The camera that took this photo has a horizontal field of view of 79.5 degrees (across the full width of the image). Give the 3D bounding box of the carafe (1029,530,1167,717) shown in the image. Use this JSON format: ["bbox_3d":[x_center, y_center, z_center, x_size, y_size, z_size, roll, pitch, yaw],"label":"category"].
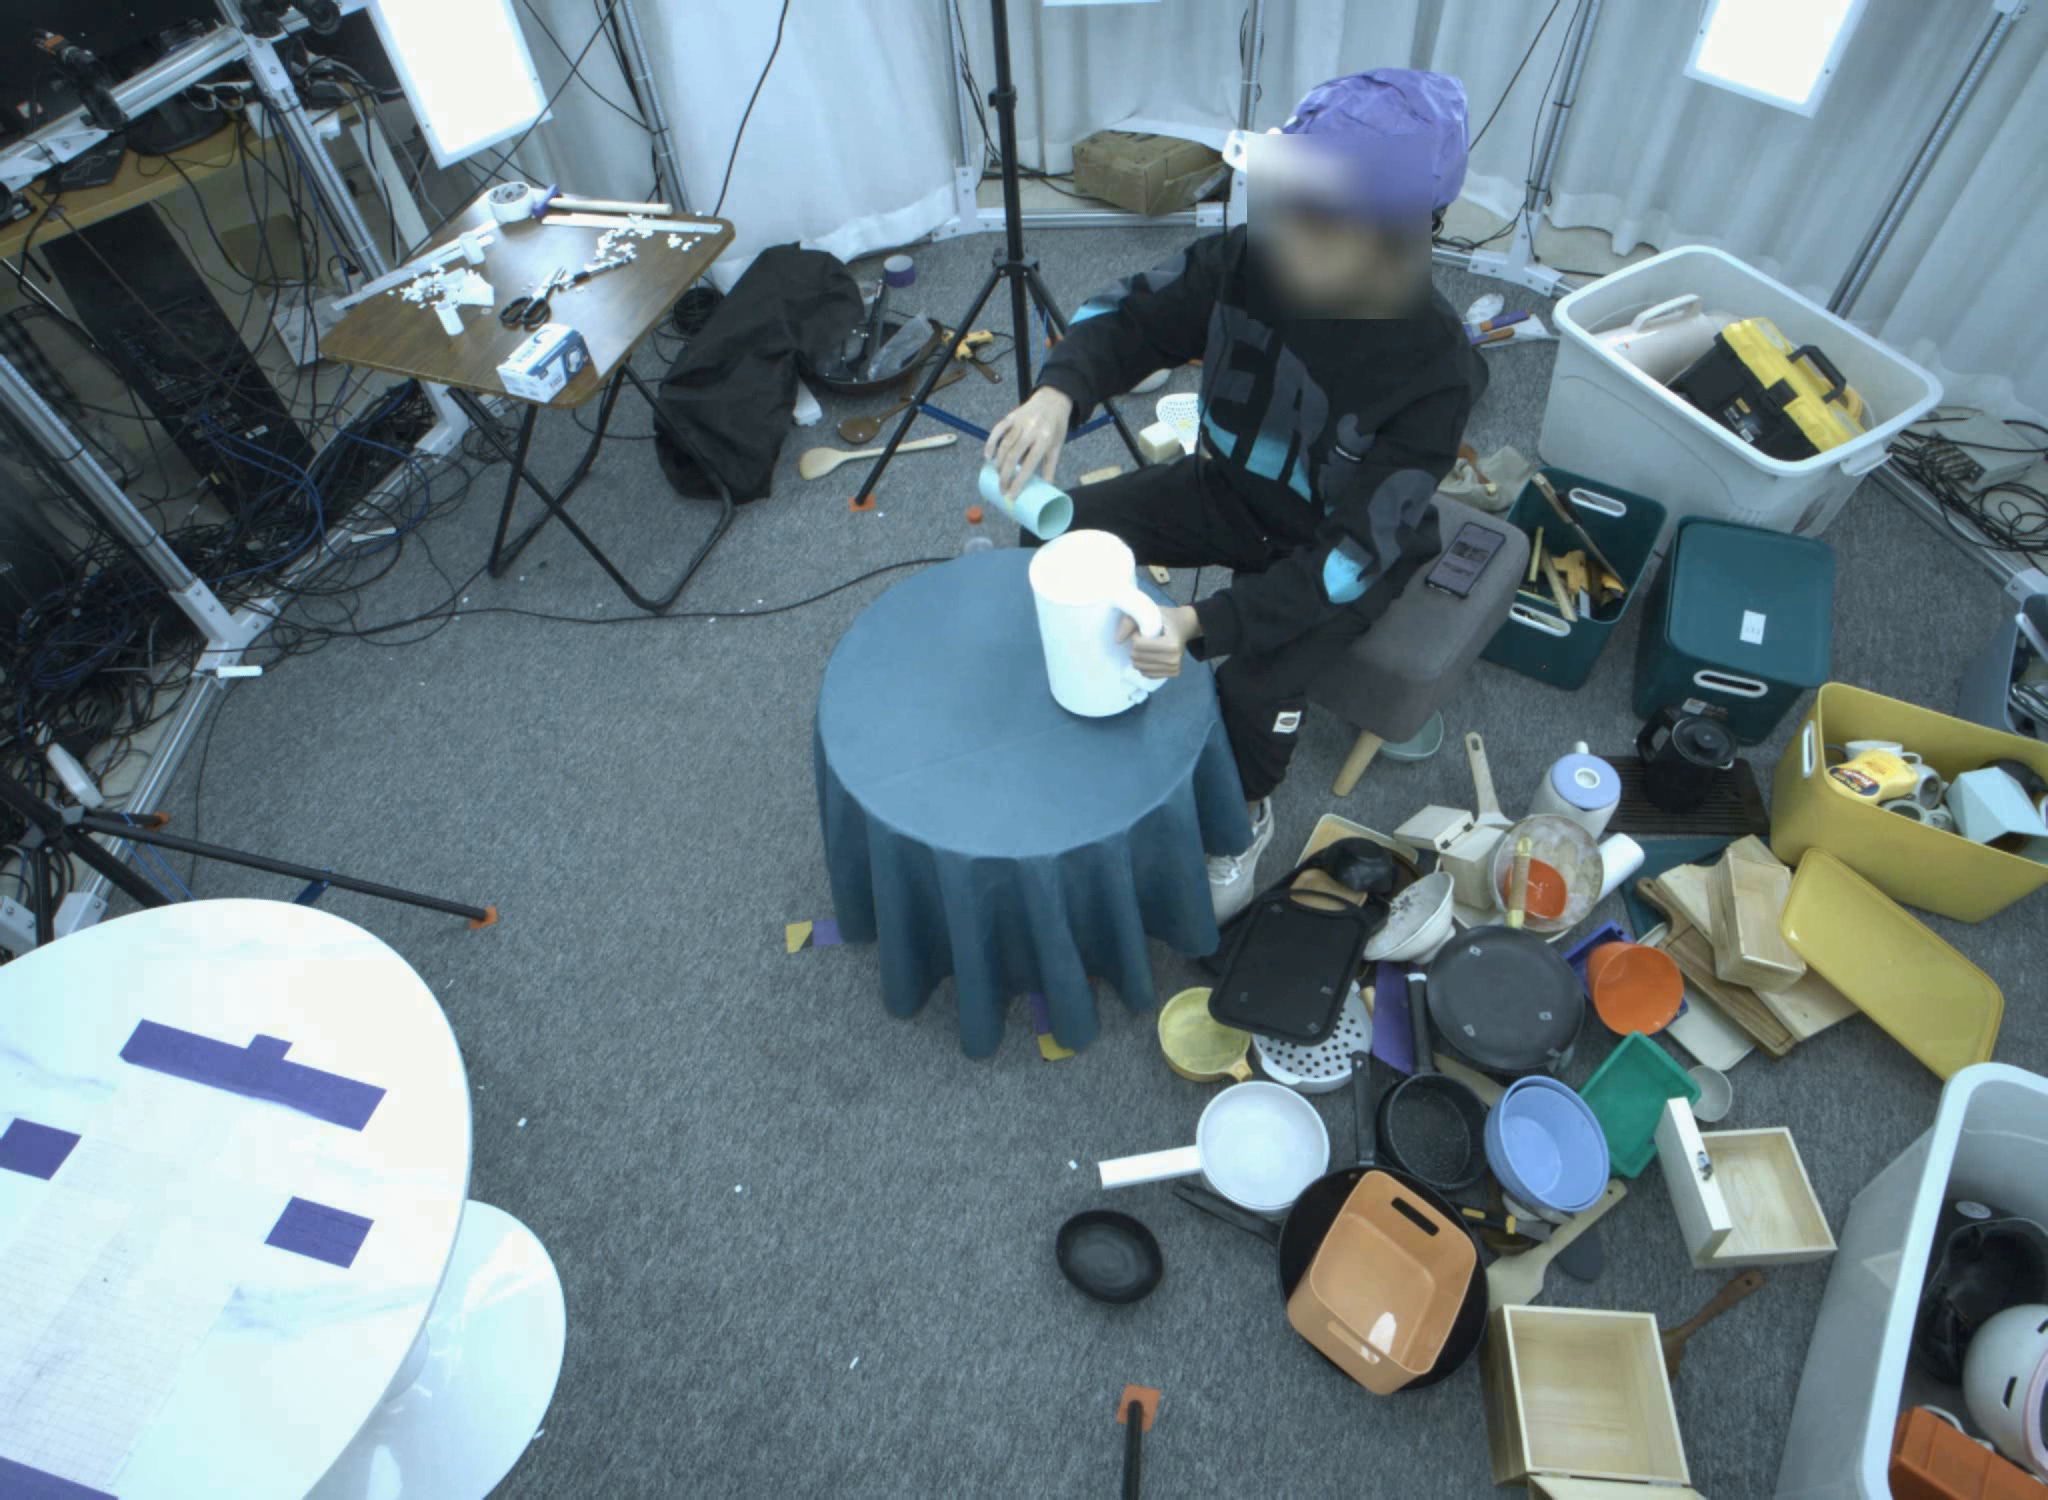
[{"bbox_3d":[0.112,-0.163,1.725,0.153,0.244,0.209,-41,56,-18],"label":"carafe"}]

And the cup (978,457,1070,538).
[{"bbox_3d":[-0.001,-0.346,1.659,0.067,0.067,0.129,-33,52,-19],"label":"cup"}]
